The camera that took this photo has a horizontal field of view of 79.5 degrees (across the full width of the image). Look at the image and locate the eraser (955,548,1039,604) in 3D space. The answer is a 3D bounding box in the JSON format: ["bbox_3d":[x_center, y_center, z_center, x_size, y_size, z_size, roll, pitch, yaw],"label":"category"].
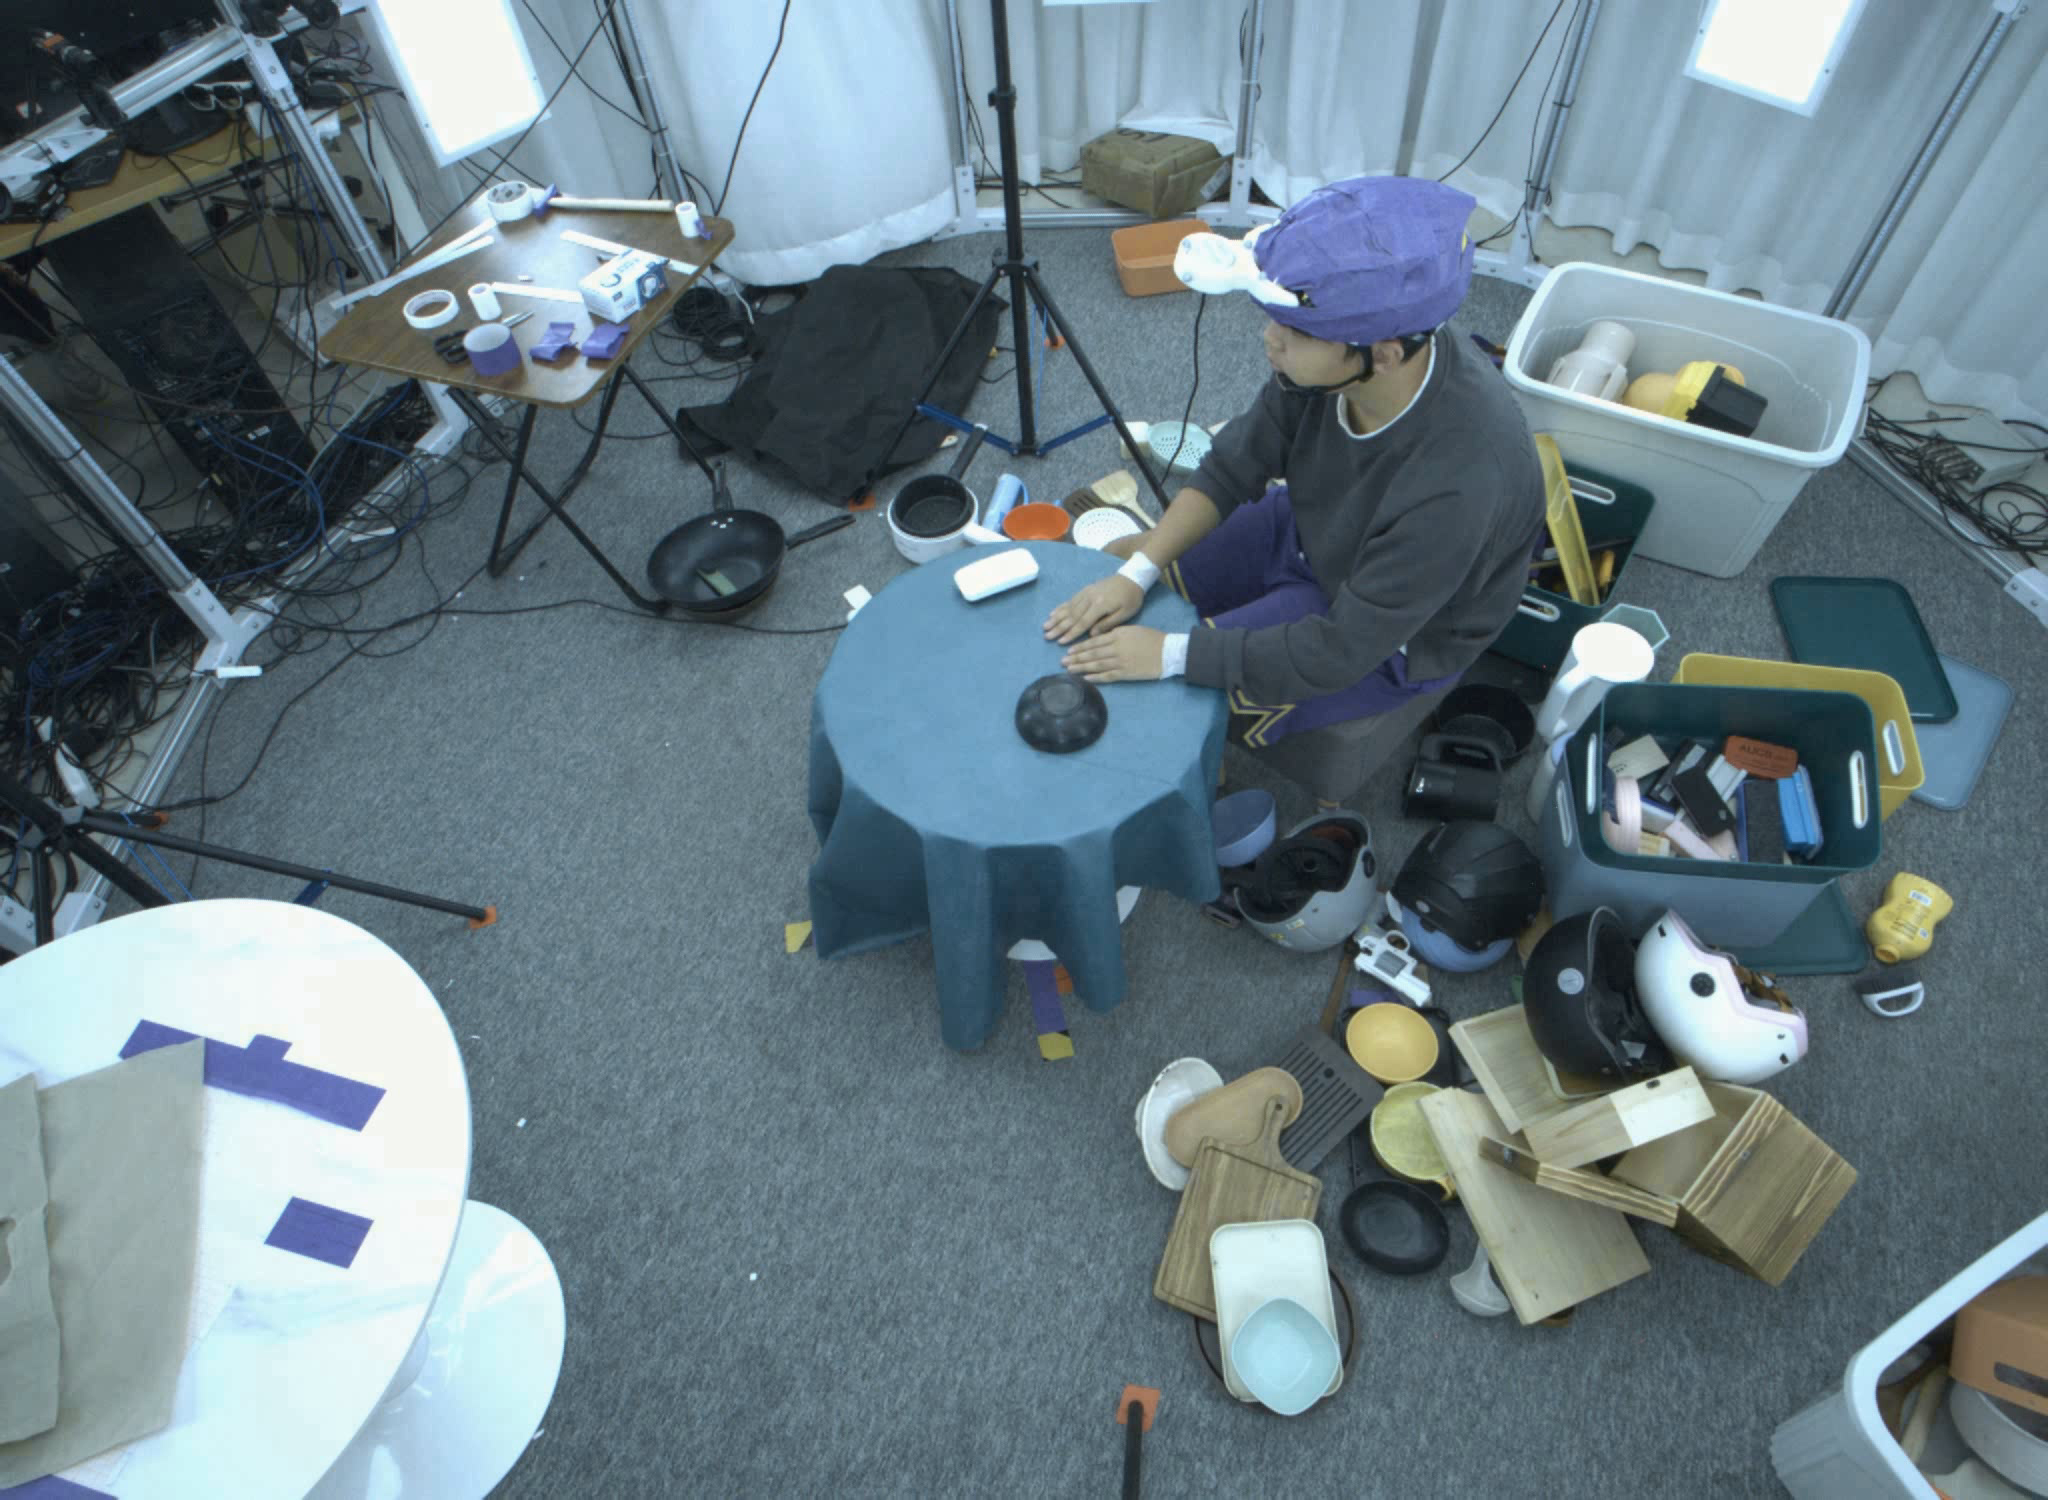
[{"bbox_3d":[-0.043,-0.280,1.971,0.132,0.035,0.062,-21,57,-11],"label":"eraser"}]

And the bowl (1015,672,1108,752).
[{"bbox_3d":[0.054,-0.066,1.803,0.140,0.050,0.138,-1,54,3],"label":"bowl"}]
